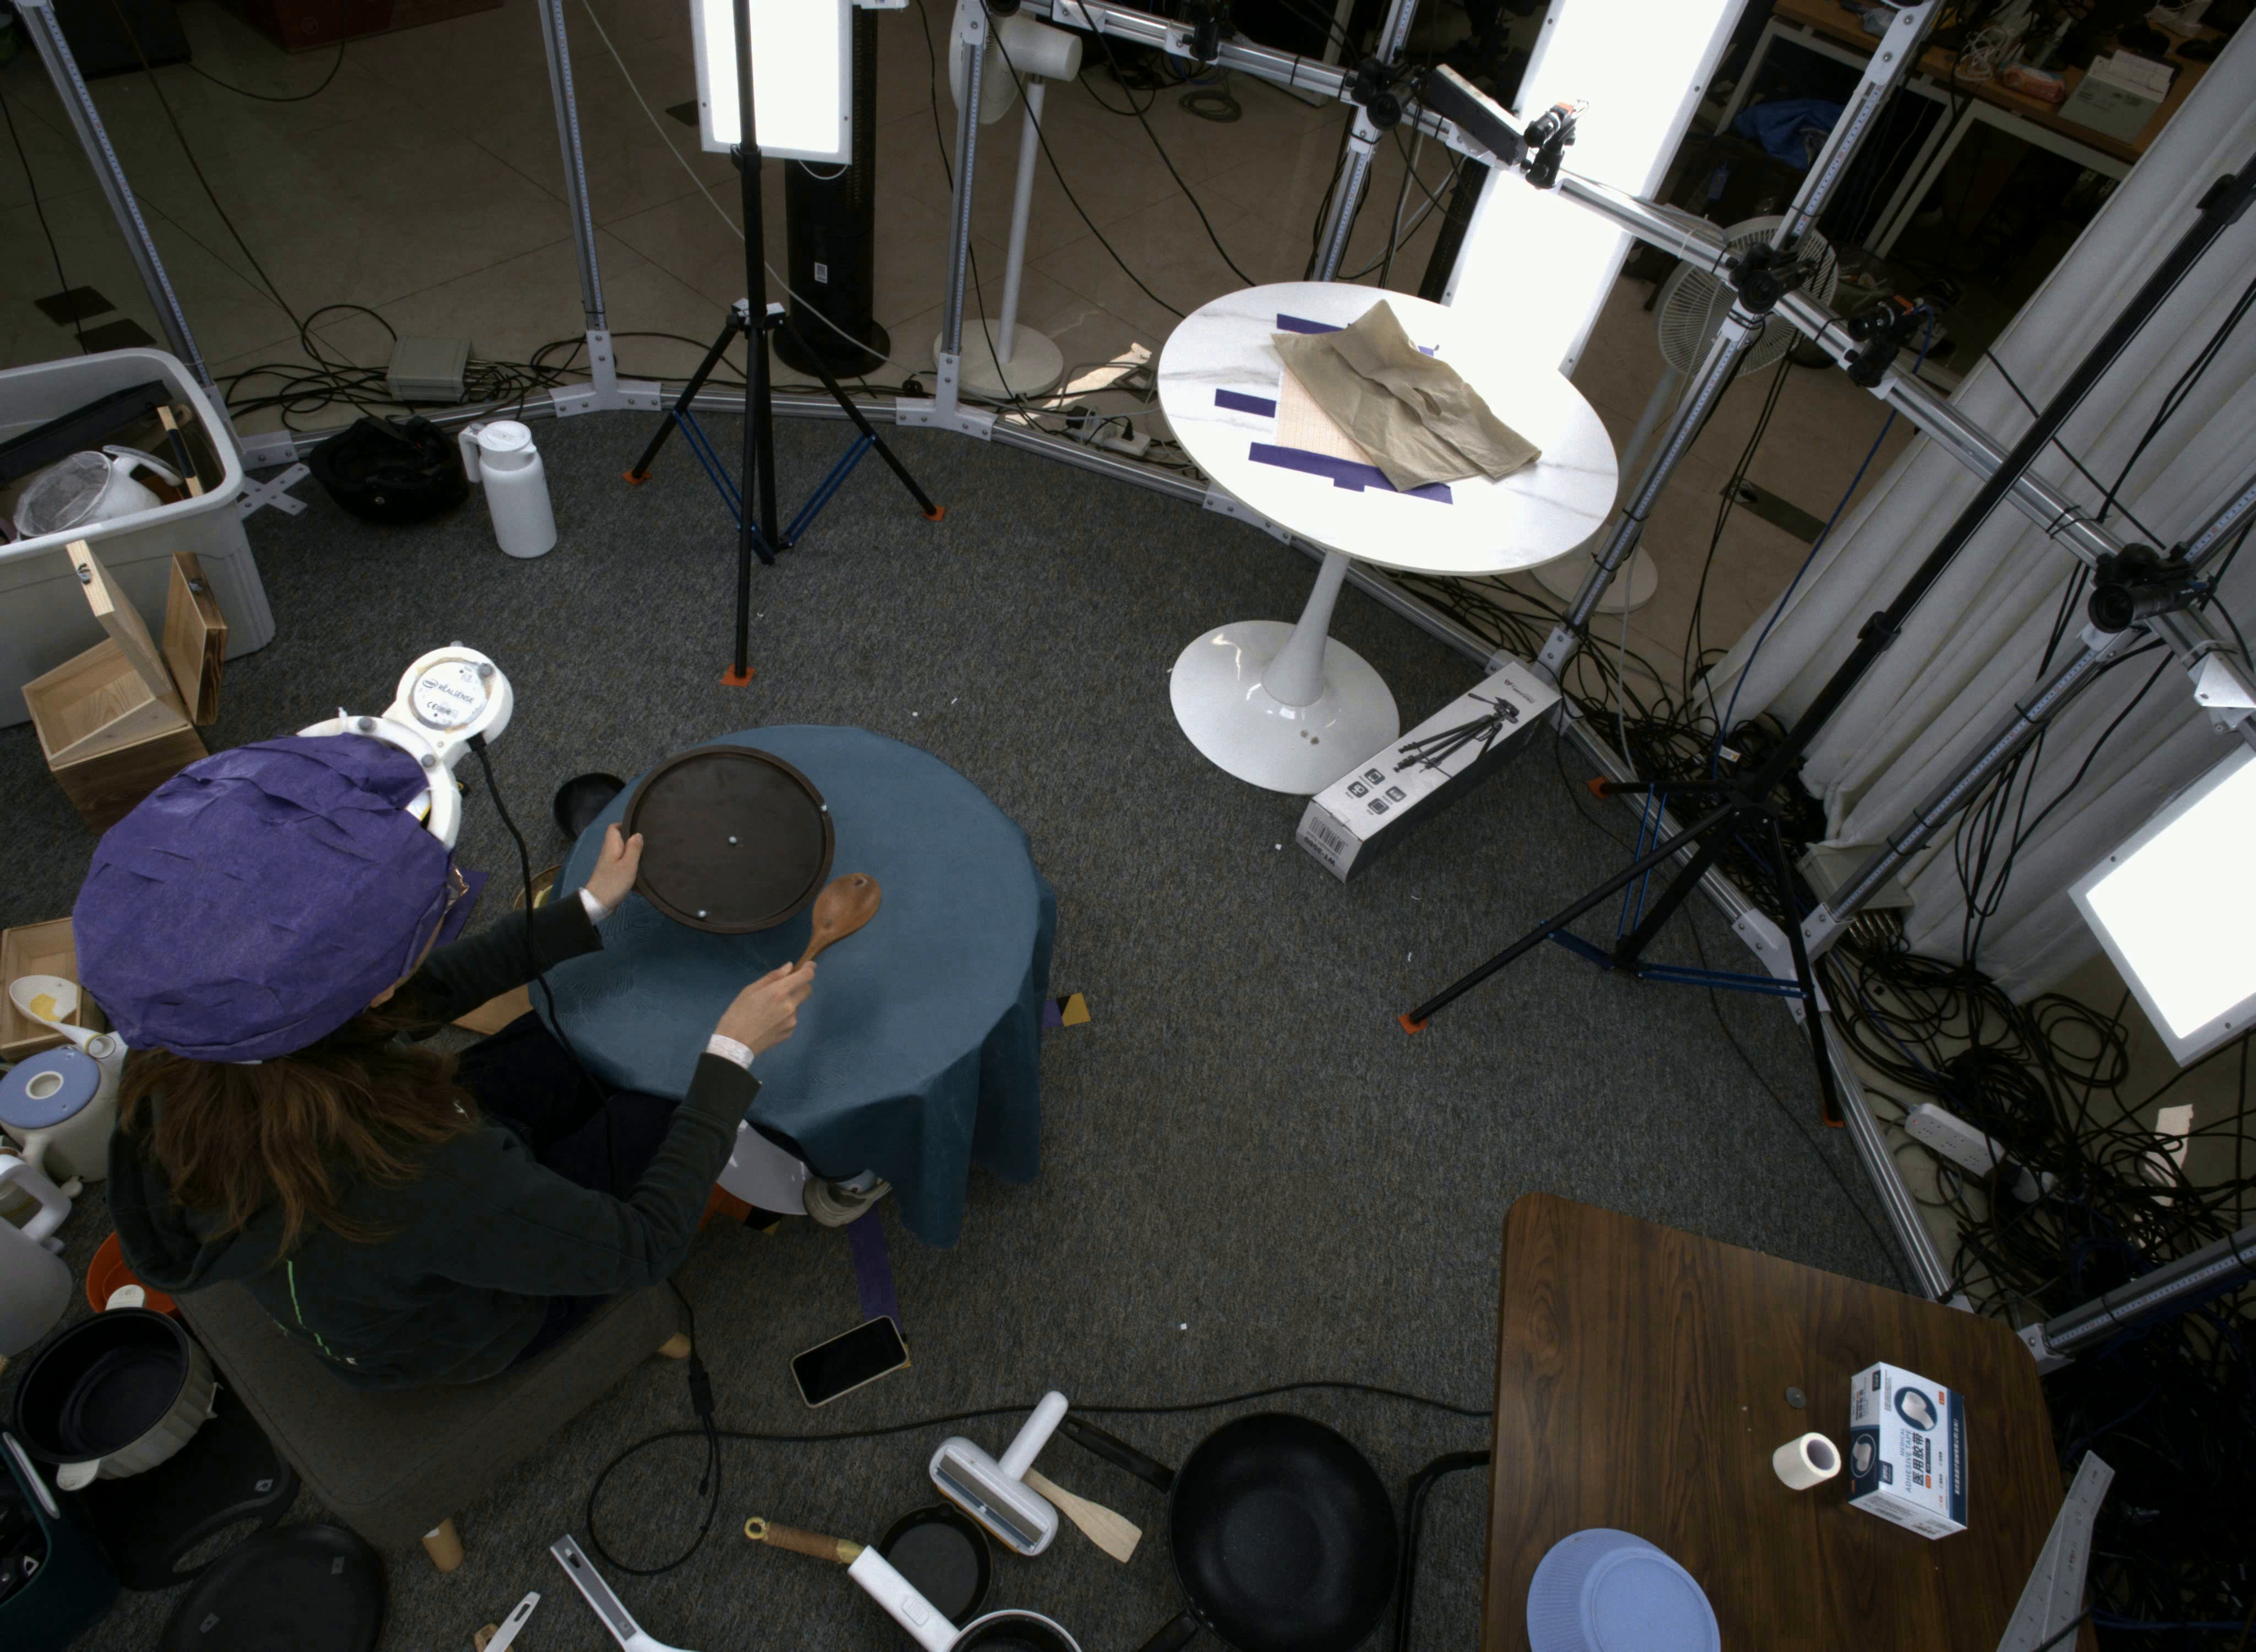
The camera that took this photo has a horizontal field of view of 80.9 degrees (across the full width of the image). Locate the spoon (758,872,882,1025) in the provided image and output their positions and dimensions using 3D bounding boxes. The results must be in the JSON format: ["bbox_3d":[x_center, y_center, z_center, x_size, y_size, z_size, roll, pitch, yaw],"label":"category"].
[{"bbox_3d":[-0.357,0.137,1.487,0.073,0.018,0.215,22,56,15],"label":"spoon"}]

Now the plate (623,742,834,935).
[{"bbox_3d":[-0.486,0.013,1.572,0.257,0.029,0.252,11,62,-19],"label":"plate"}]
